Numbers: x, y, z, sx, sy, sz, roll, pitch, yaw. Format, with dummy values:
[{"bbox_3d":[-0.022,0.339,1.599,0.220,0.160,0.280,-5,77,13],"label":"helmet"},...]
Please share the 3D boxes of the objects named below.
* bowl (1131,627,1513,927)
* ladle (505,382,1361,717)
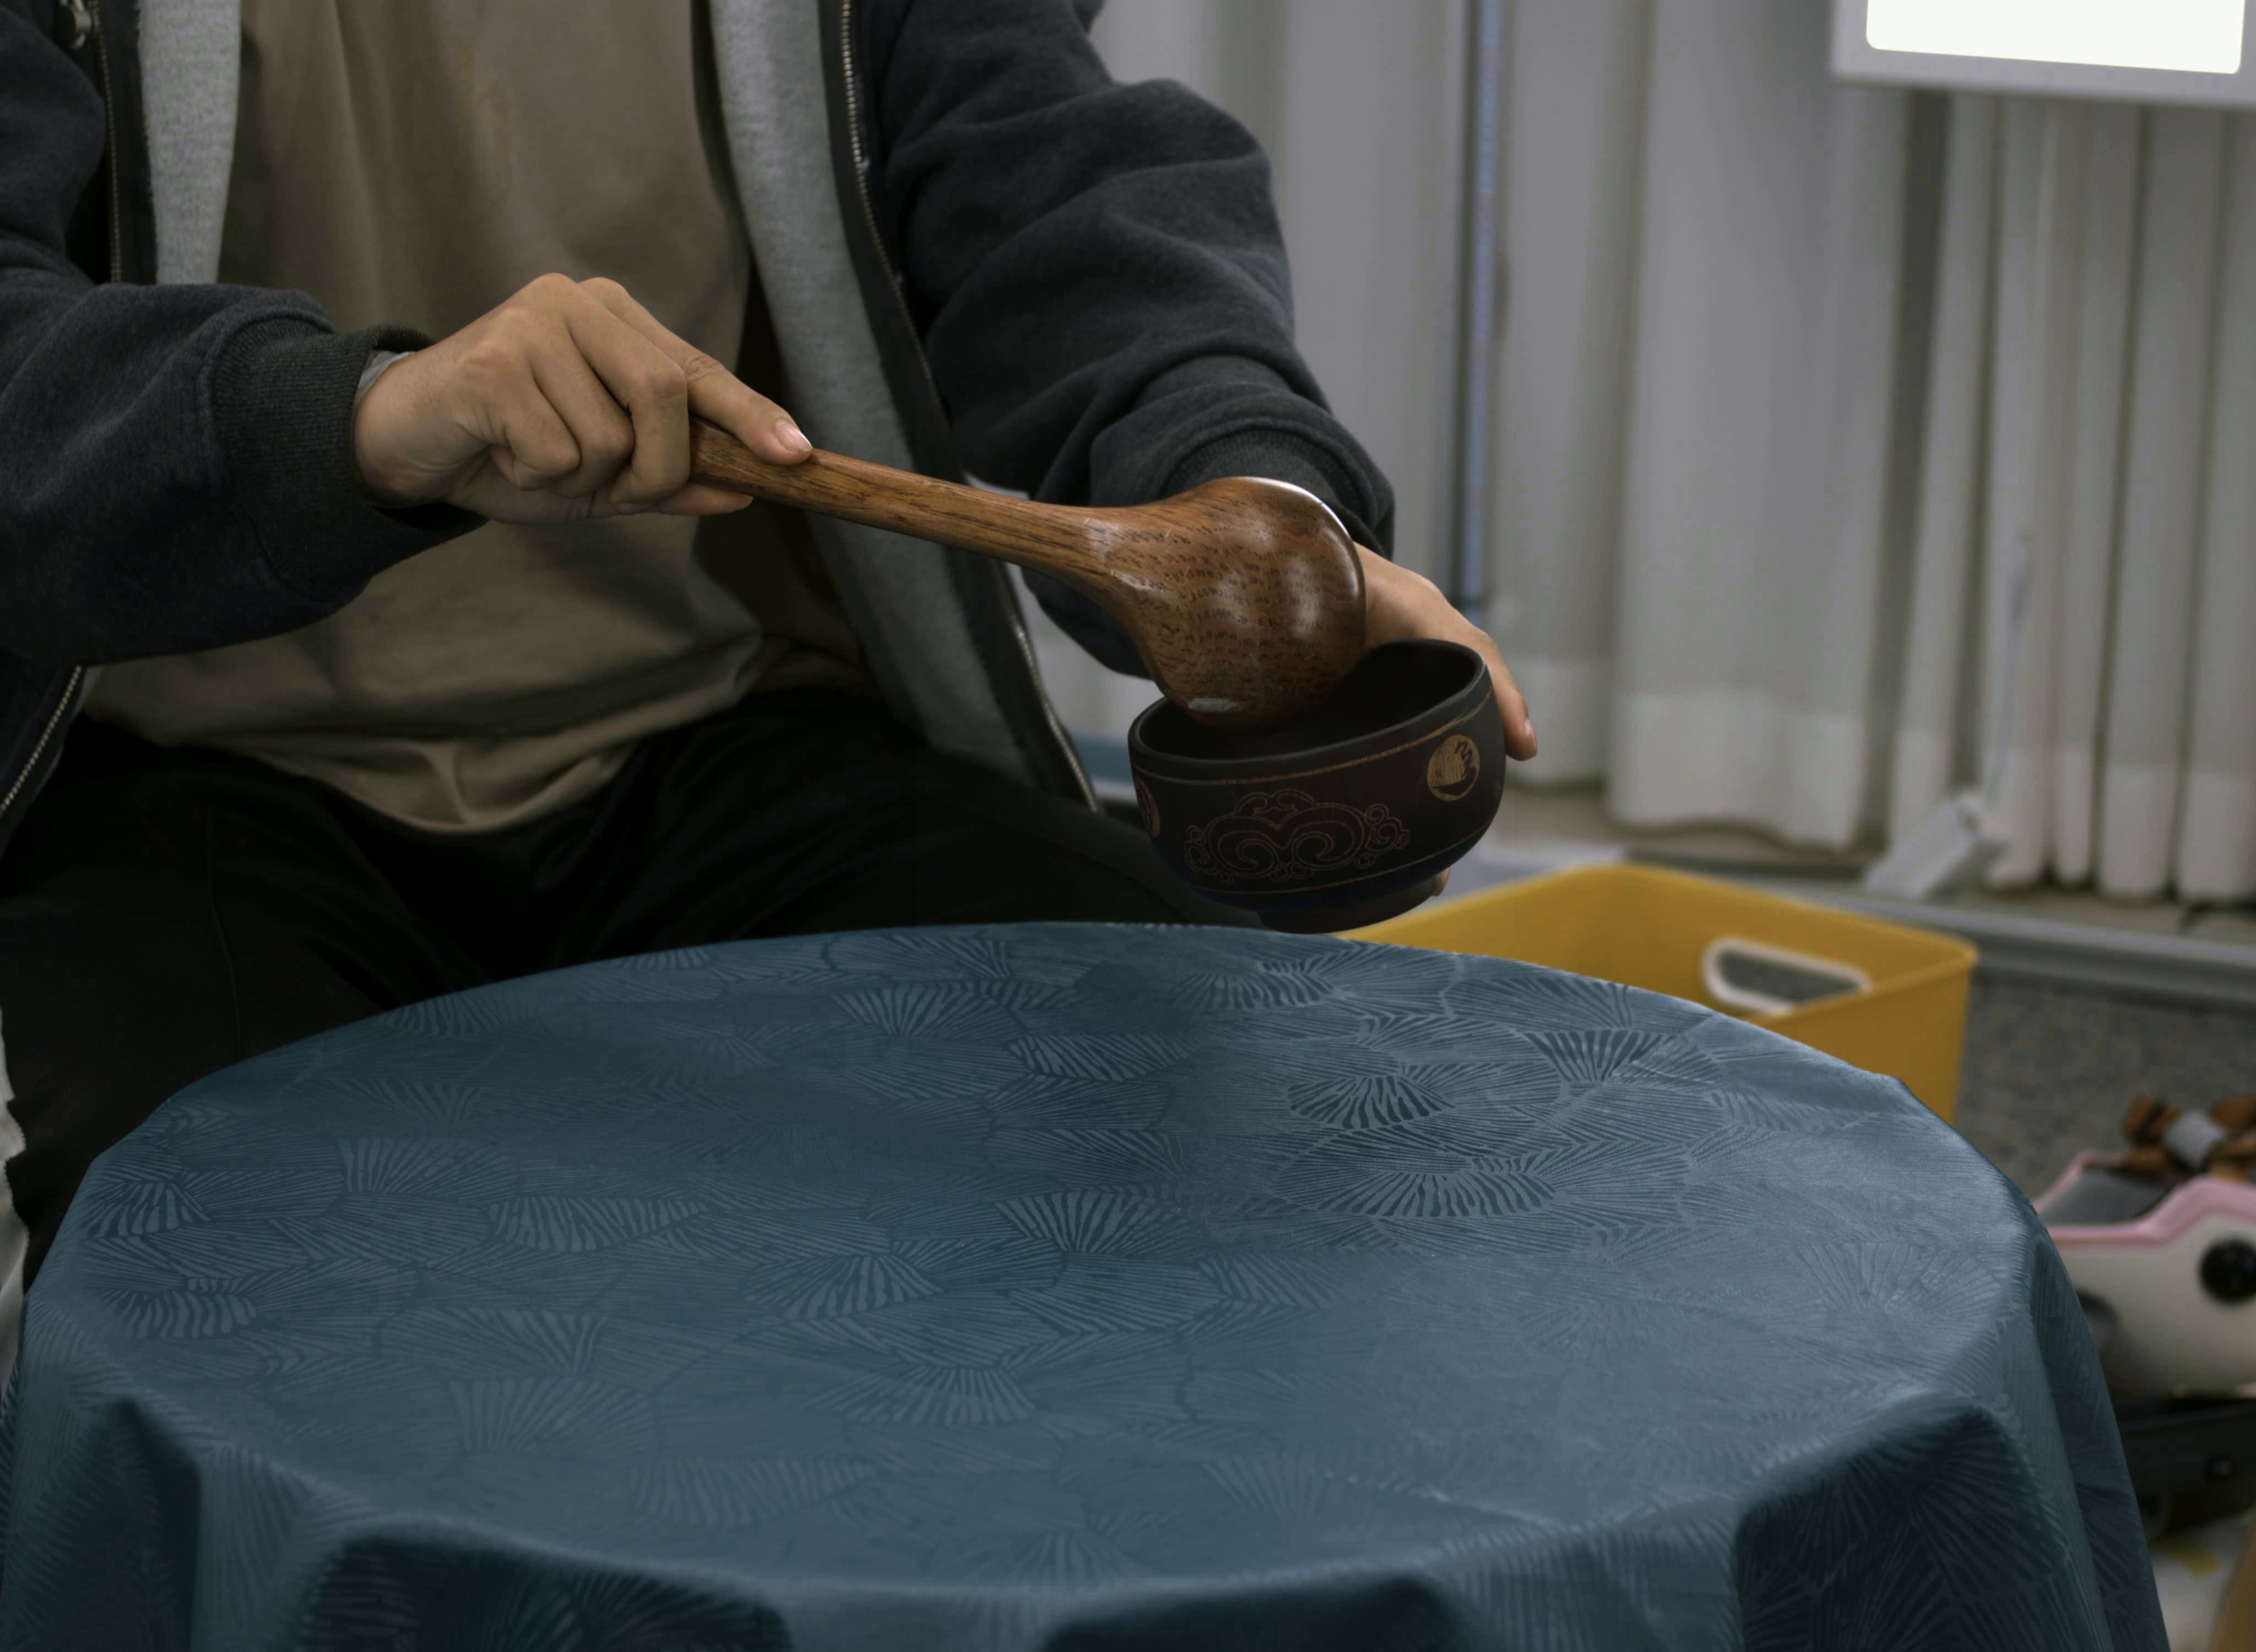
[{"bbox_3d":[0.064,-0.011,1.644,0.117,0.070,0.117,-12,17,4],"label":"bowl"},{"bbox_3d":[-0.060,-0.098,1.652,0.271,0.082,0.077,13,-10,19],"label":"ladle"}]
